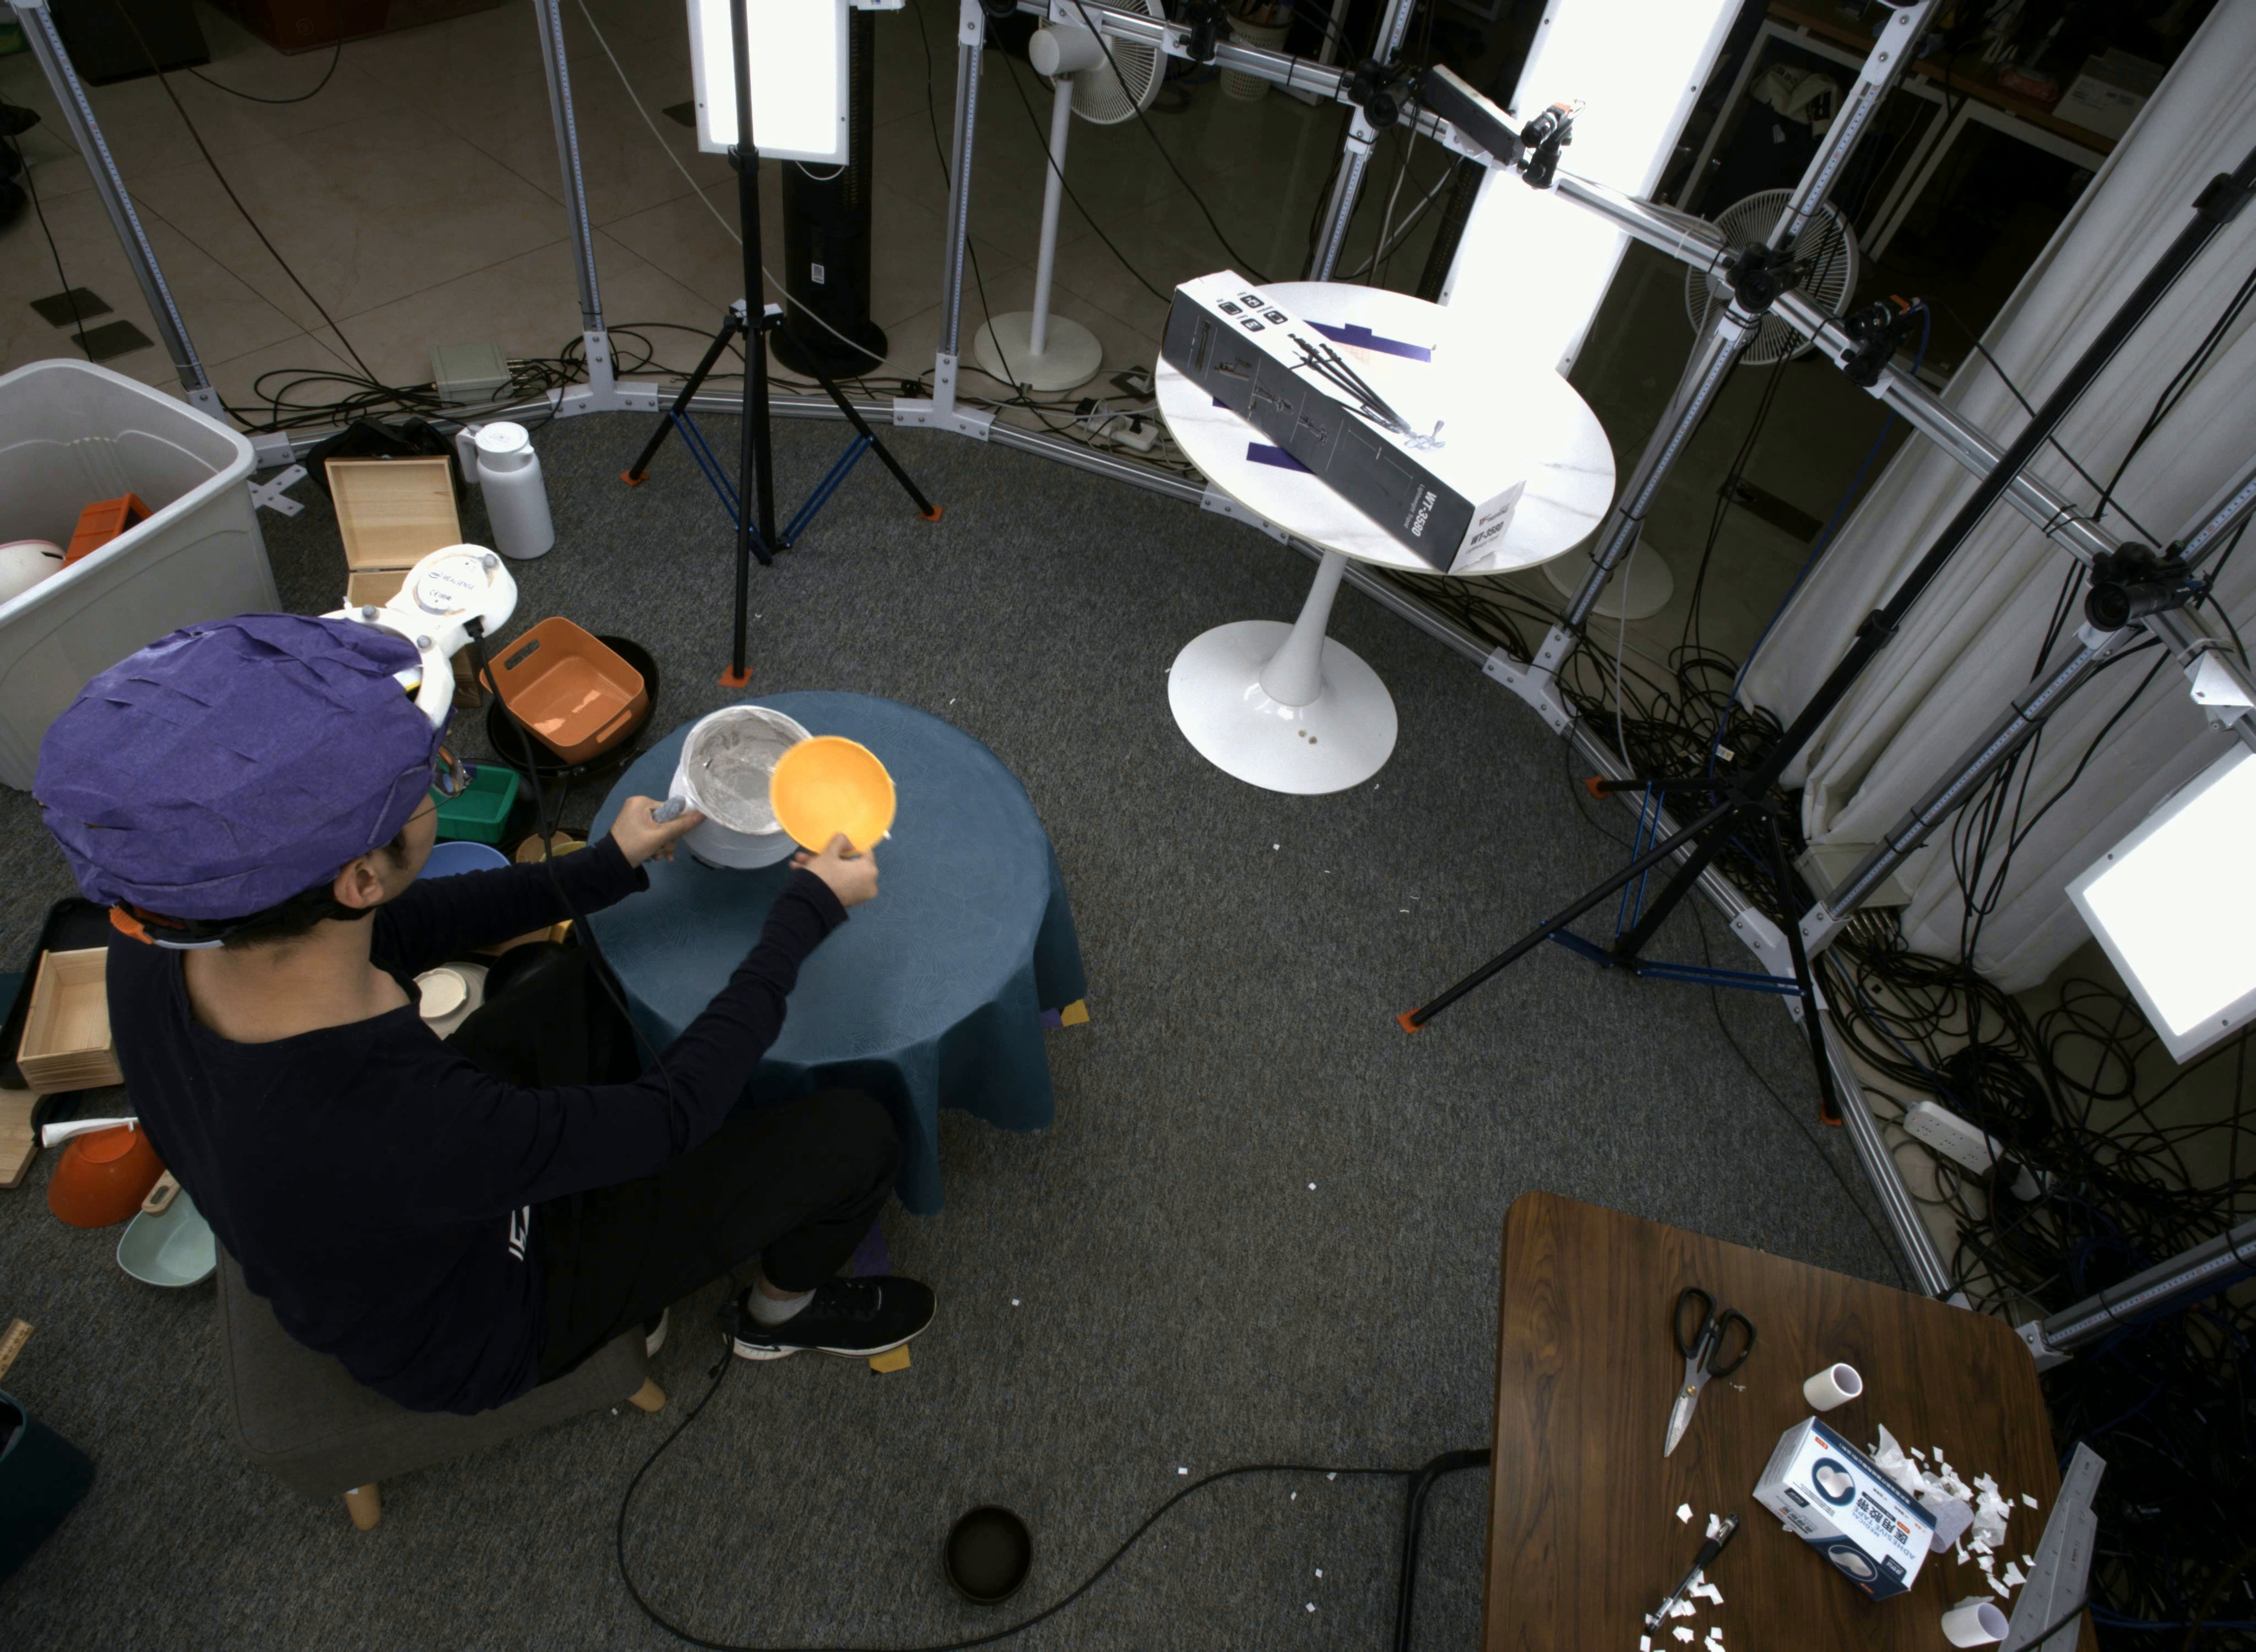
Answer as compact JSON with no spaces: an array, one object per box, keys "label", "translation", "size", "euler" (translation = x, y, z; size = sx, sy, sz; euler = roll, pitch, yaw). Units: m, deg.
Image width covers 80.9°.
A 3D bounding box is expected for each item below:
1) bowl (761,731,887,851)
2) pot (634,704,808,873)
[{"label":"bowl","translation":[-0.359,-0.033,1.514],"size":[0.147,0.059,0.144],"euler":[10,69,-24]},{"label":"pot","translation":[-0.497,-0.031,1.597],"size":[0.235,0.136,0.178],"euler":[-31,83,-34]}]
